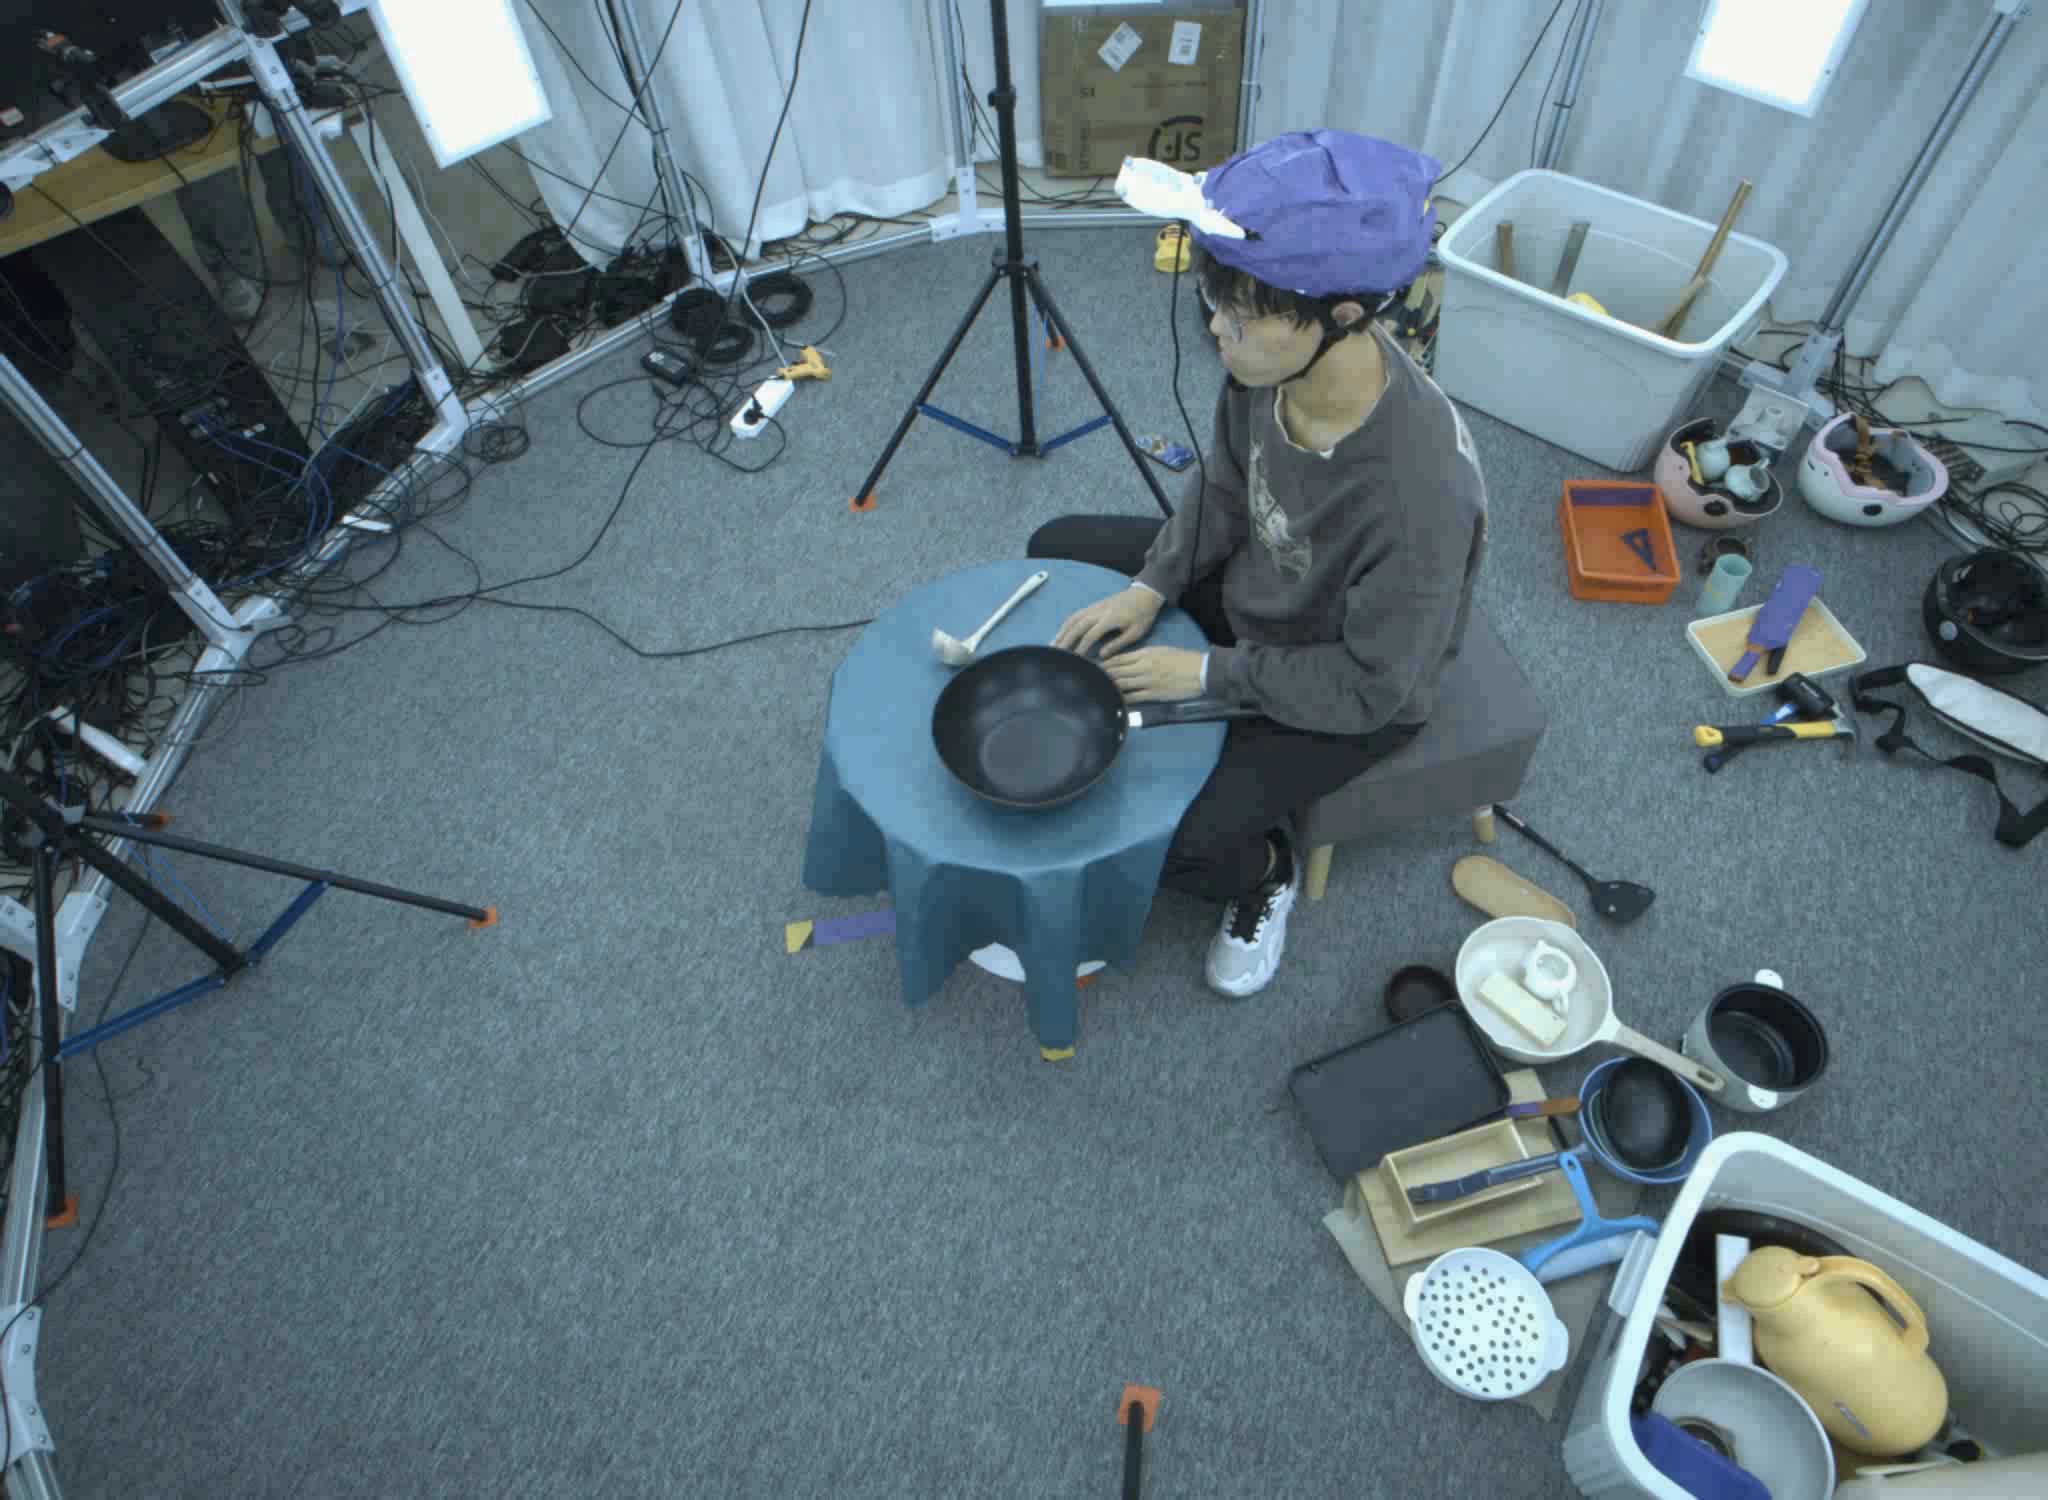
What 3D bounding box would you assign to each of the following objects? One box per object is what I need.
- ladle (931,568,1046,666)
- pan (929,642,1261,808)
[{"bbox_3d":[-0.048,-0.229,1.905,0.071,0.074,0.255,28,62,24],"label":"ladle"},{"bbox_3d":[0.100,-0.026,1.749,0.464,0.088,0.285,-2,54,-1],"label":"pan"}]
